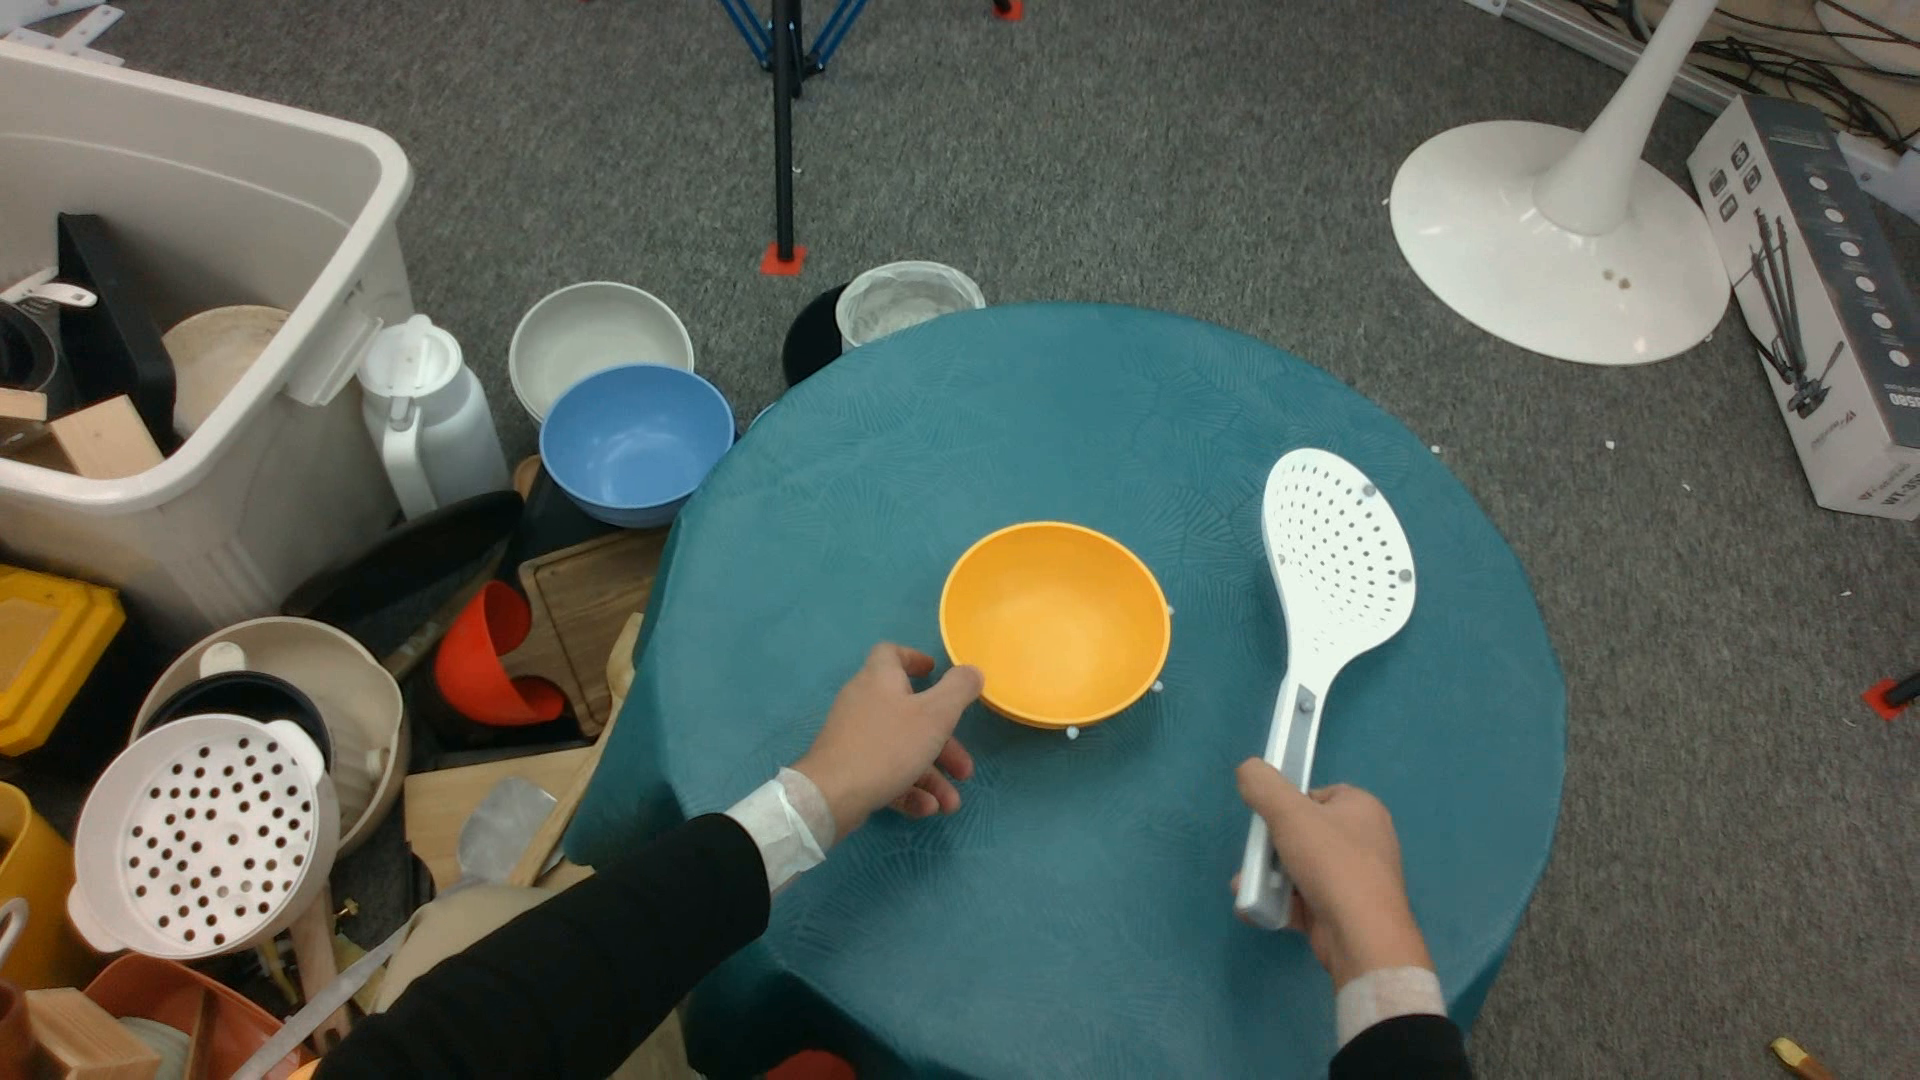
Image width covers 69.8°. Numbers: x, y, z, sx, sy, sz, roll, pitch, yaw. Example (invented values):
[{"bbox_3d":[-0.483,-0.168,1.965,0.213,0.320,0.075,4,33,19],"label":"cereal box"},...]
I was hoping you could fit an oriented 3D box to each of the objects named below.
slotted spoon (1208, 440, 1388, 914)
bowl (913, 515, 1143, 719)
[{"bbox_3d":[0.200,0.074,0.854,0.136,0.045,0.351,37,44,-15],"label":"slotted spoon"},{"bbox_3d":[0.040,0.058,0.870,0.145,0.060,0.146,3,54,-4],"label":"bowl"}]
